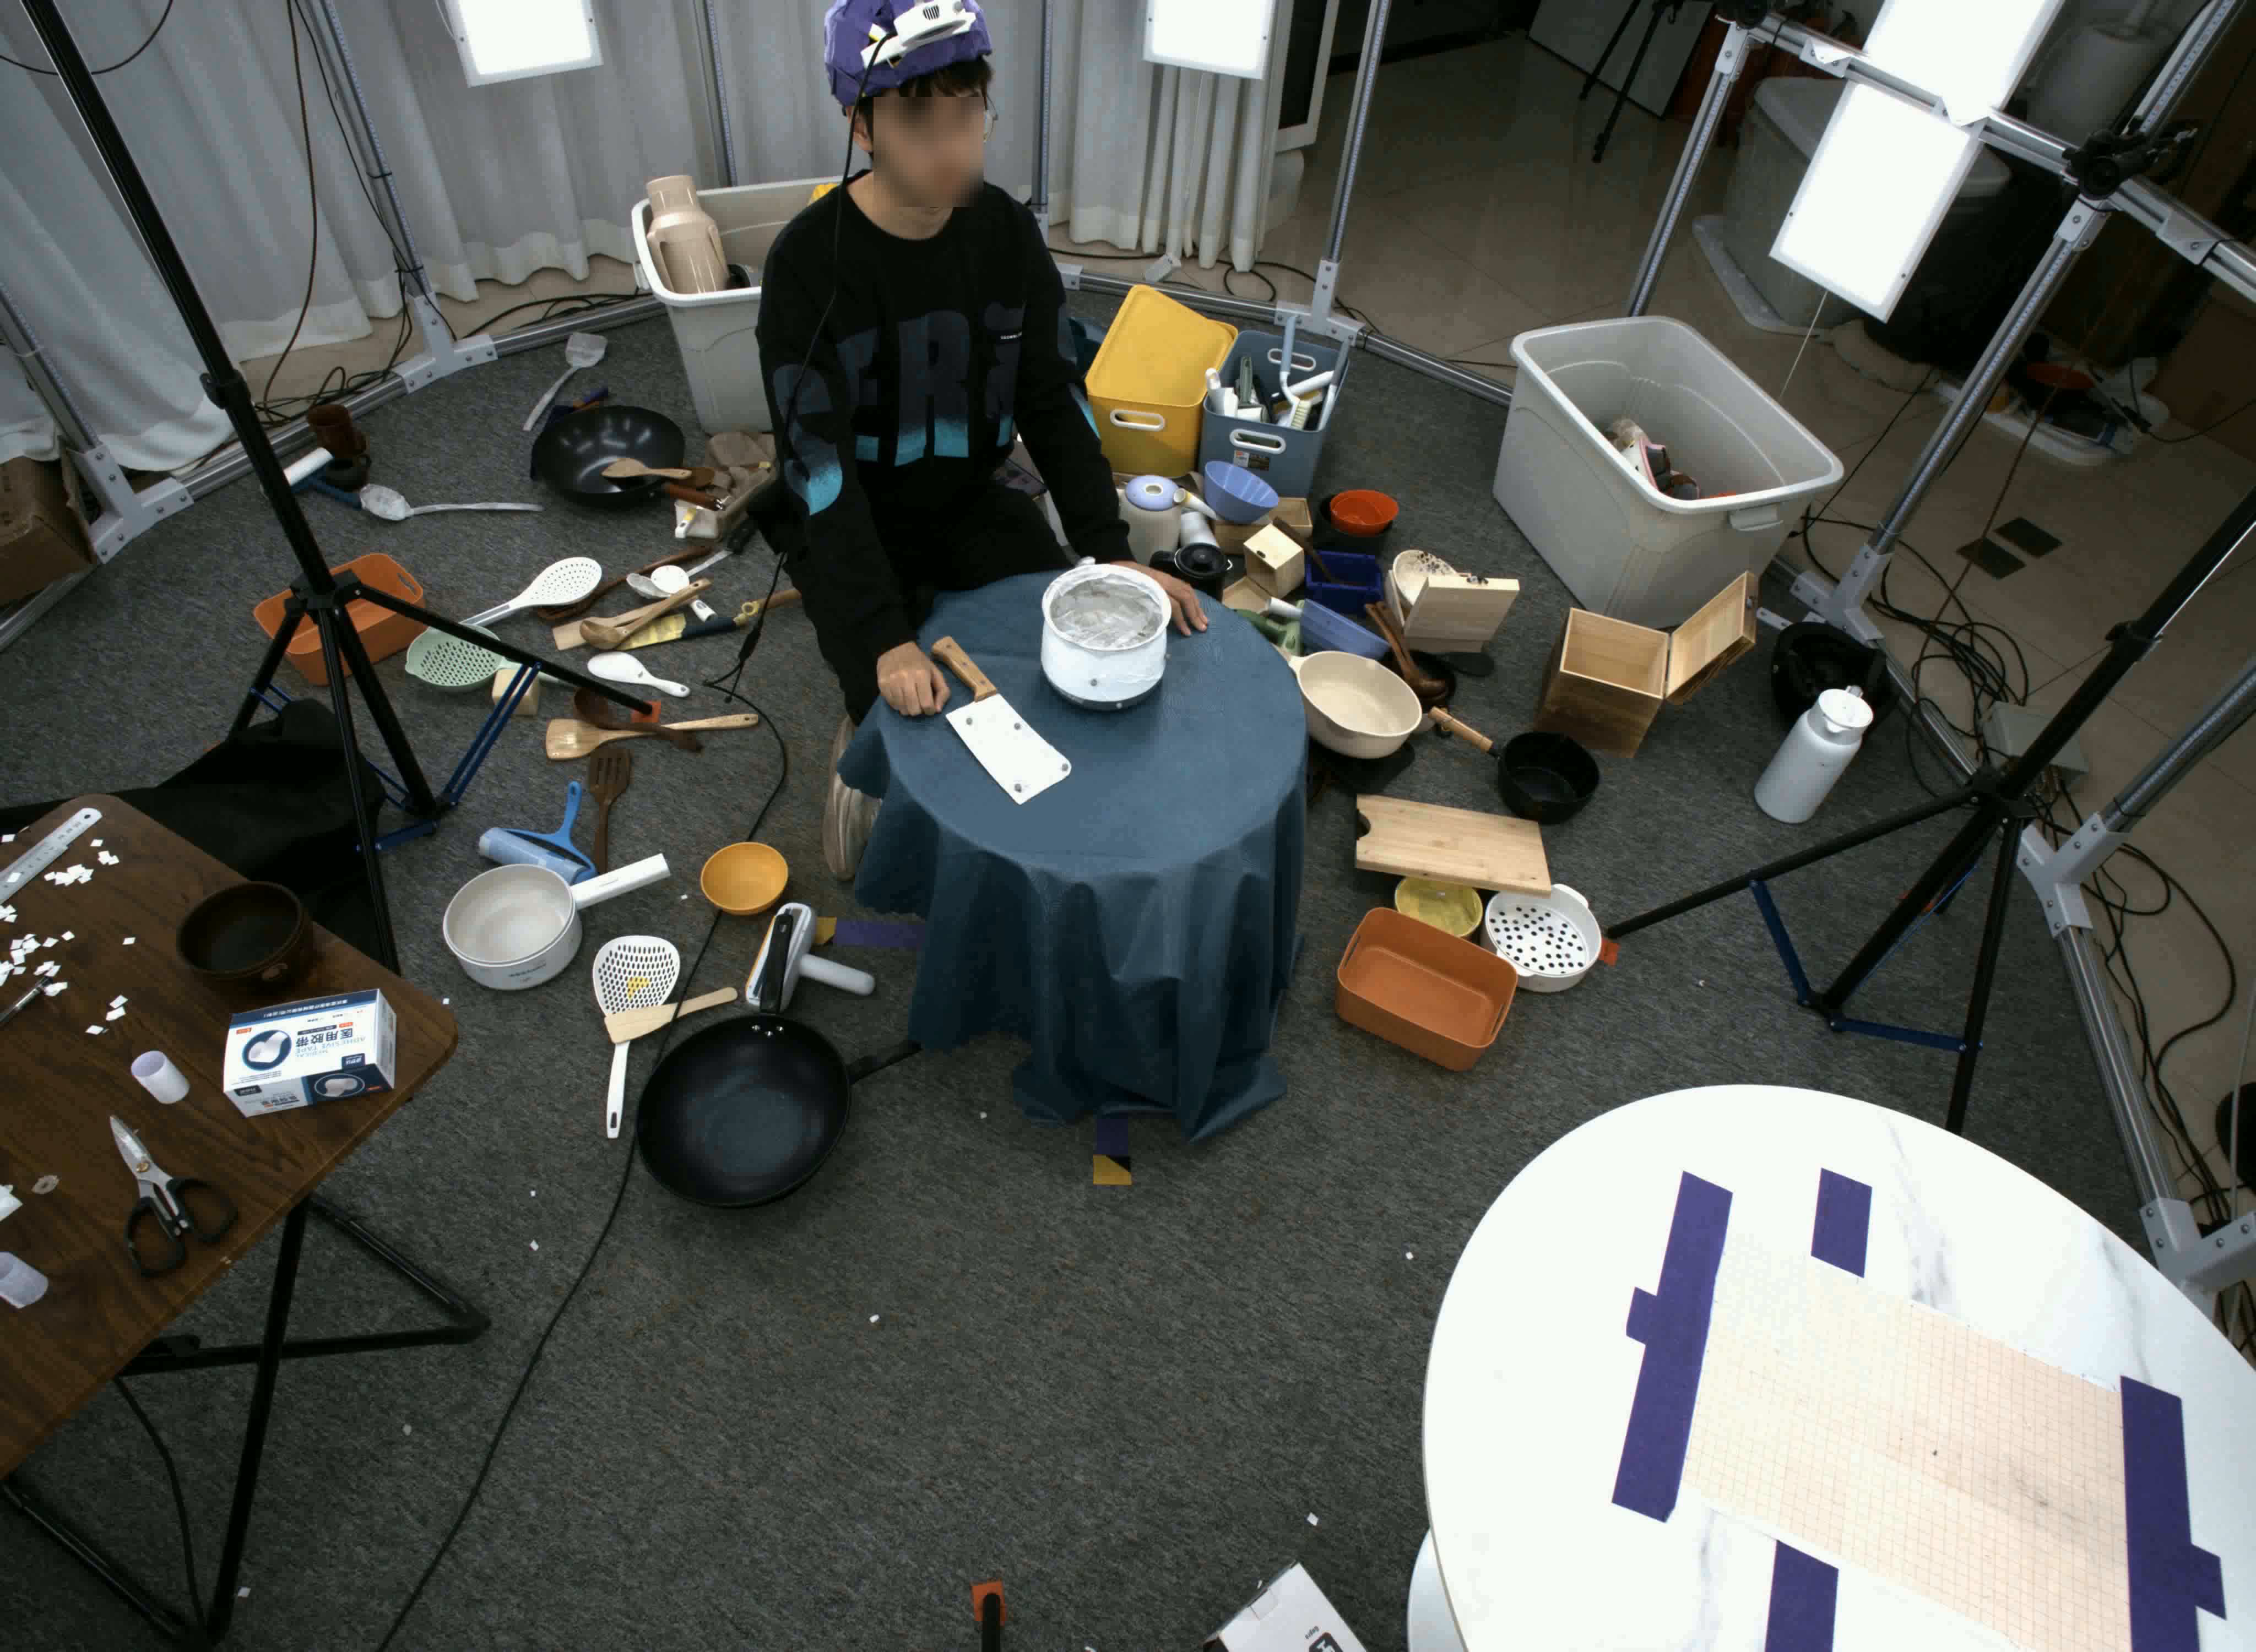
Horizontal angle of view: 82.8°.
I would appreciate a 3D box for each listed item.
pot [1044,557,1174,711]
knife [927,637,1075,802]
[{"bbox_3d":[-0.037,-0.281,1.822,0.178,0.133,0.239,-10,51,-13],"label":"pot"},{"bbox_3d":[-0.188,-0.155,1.779,0.114,0.021,0.321,-24,57,-22],"label":"knife"}]
